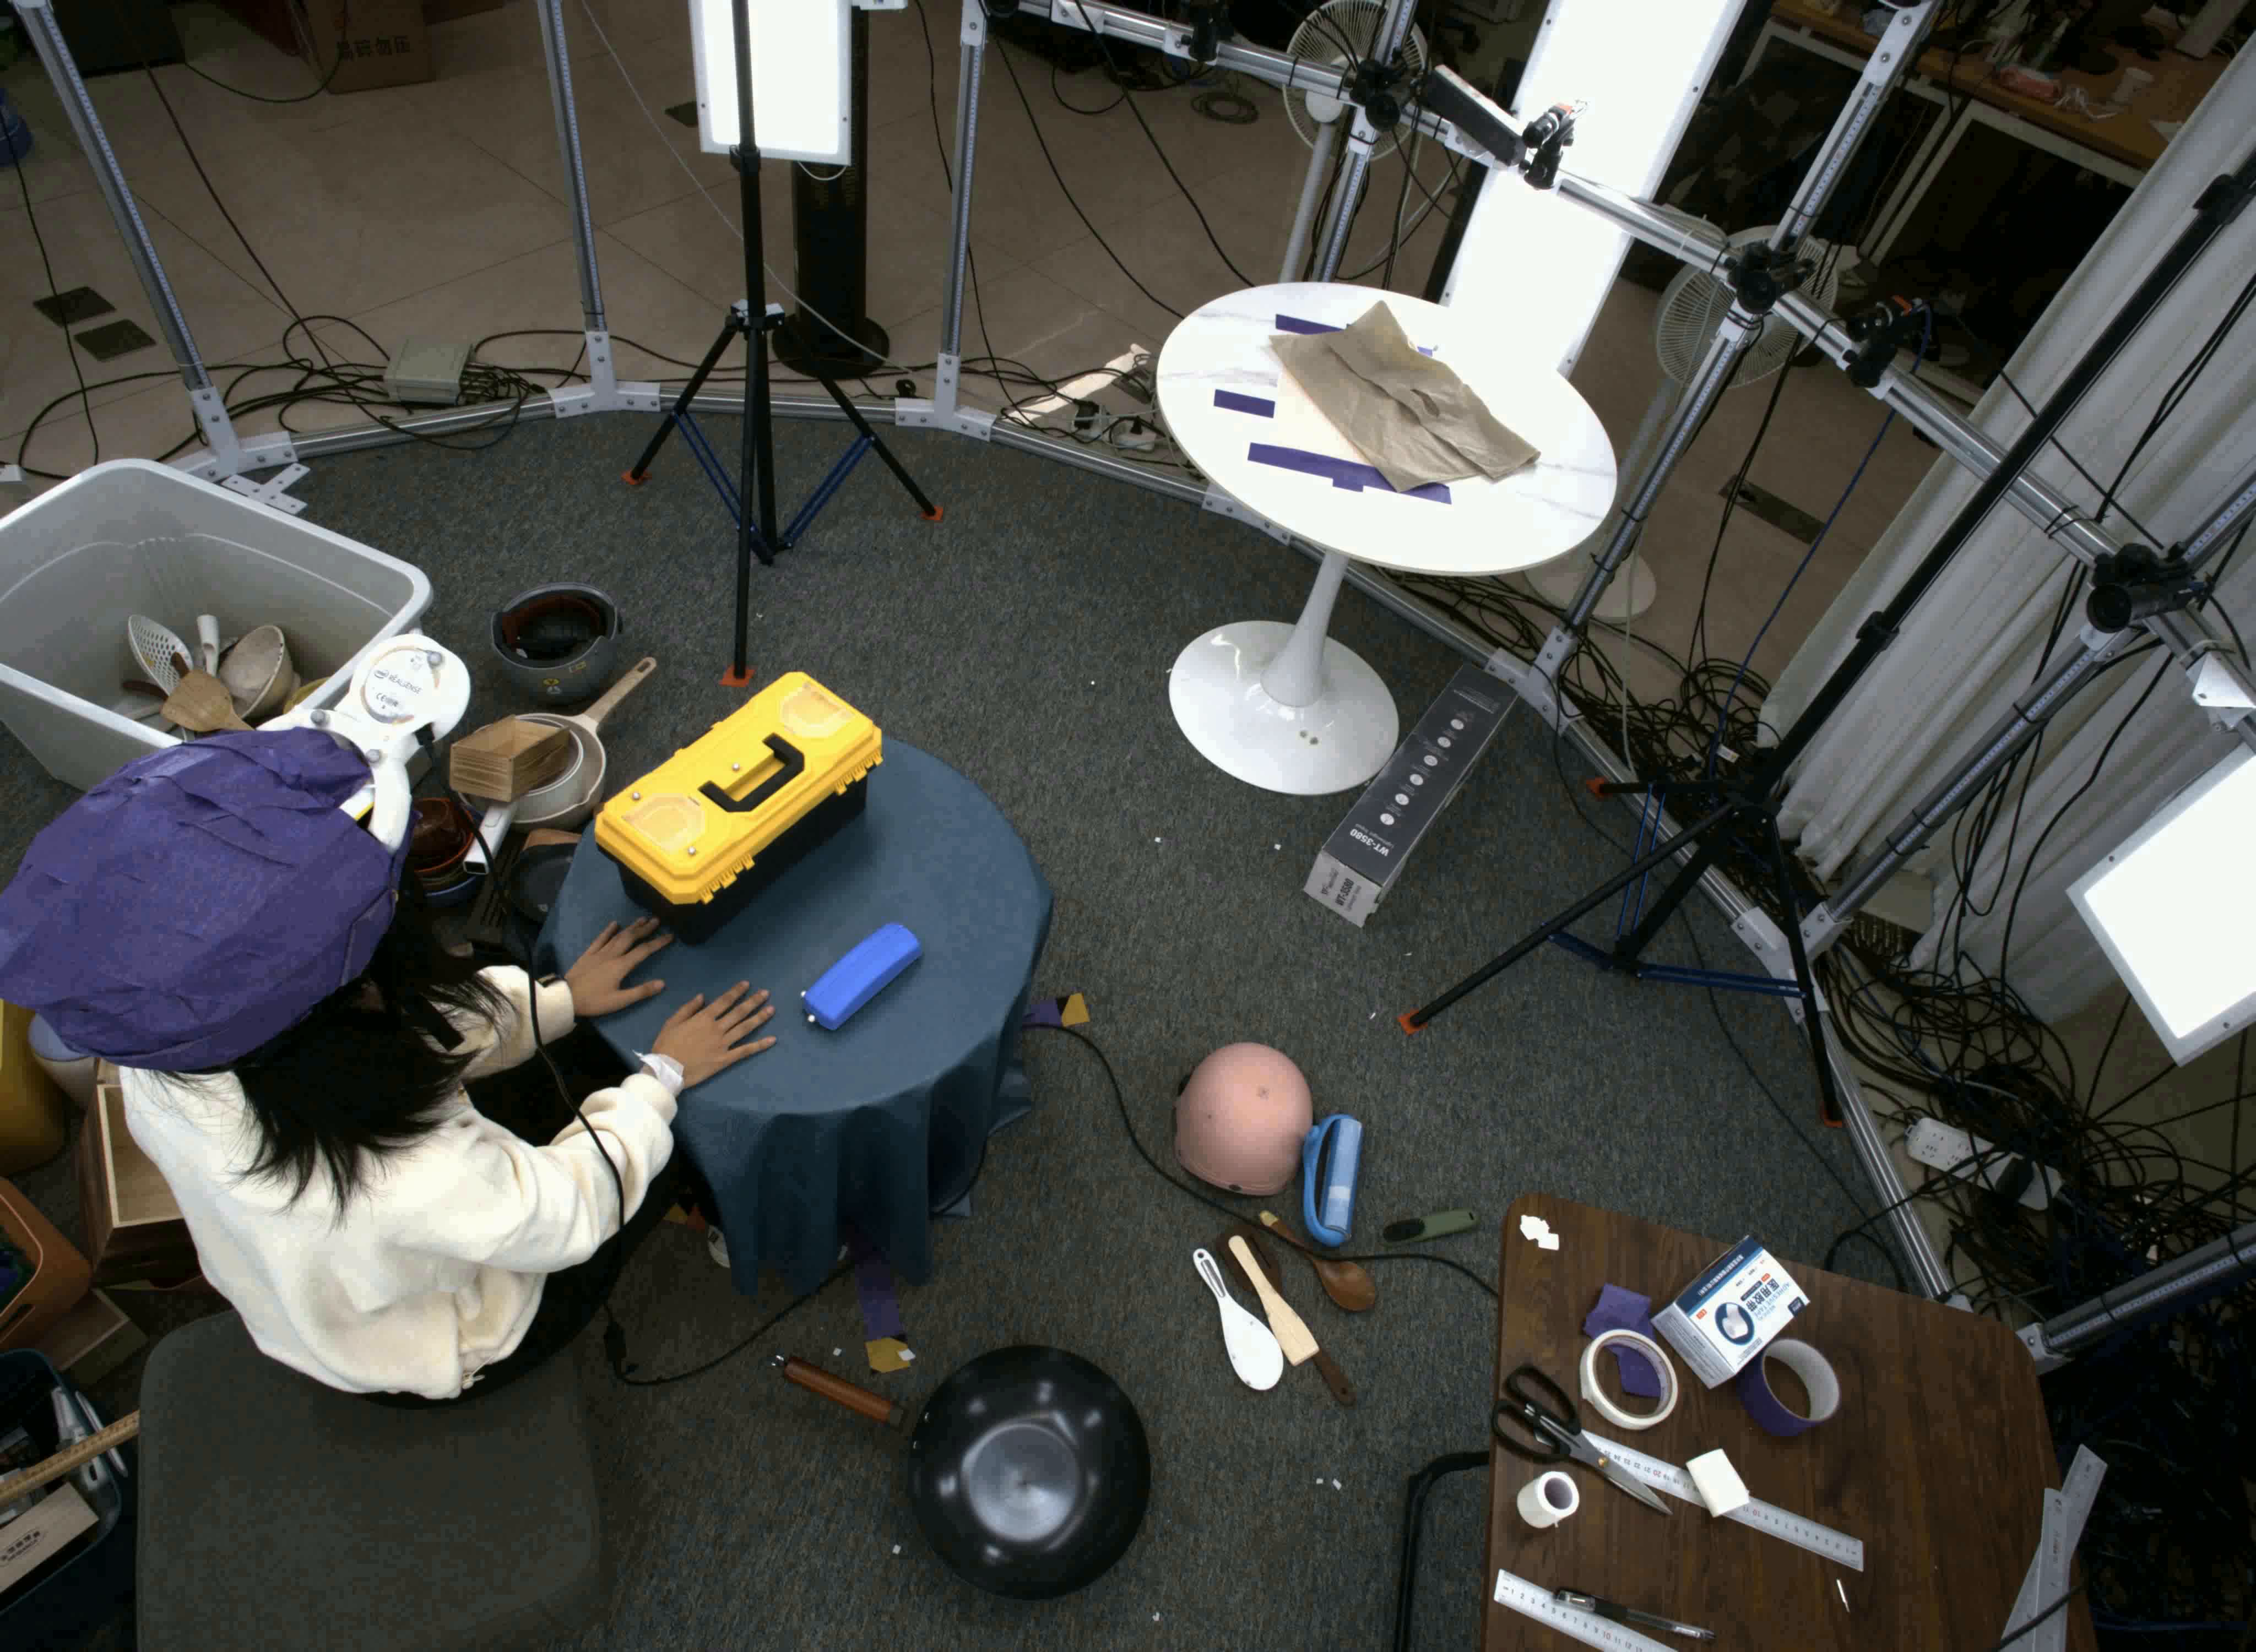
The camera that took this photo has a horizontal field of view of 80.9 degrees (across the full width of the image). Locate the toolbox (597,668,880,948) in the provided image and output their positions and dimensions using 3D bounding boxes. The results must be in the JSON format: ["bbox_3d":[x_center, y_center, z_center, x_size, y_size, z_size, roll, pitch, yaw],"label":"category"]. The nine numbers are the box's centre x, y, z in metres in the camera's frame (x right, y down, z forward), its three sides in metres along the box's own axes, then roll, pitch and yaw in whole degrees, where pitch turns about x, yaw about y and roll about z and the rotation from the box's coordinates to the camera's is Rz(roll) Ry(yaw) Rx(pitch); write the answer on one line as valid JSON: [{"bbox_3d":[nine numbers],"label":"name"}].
[{"bbox_3d":[-0.480,-0.026,1.612,0.178,0.176,0.351,35,53,13],"label":"toolbox"}]

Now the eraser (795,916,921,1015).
[{"bbox_3d":[-0.329,0.164,1.588,0.163,0.048,0.052,-31,67,-34],"label":"eraser"}]
